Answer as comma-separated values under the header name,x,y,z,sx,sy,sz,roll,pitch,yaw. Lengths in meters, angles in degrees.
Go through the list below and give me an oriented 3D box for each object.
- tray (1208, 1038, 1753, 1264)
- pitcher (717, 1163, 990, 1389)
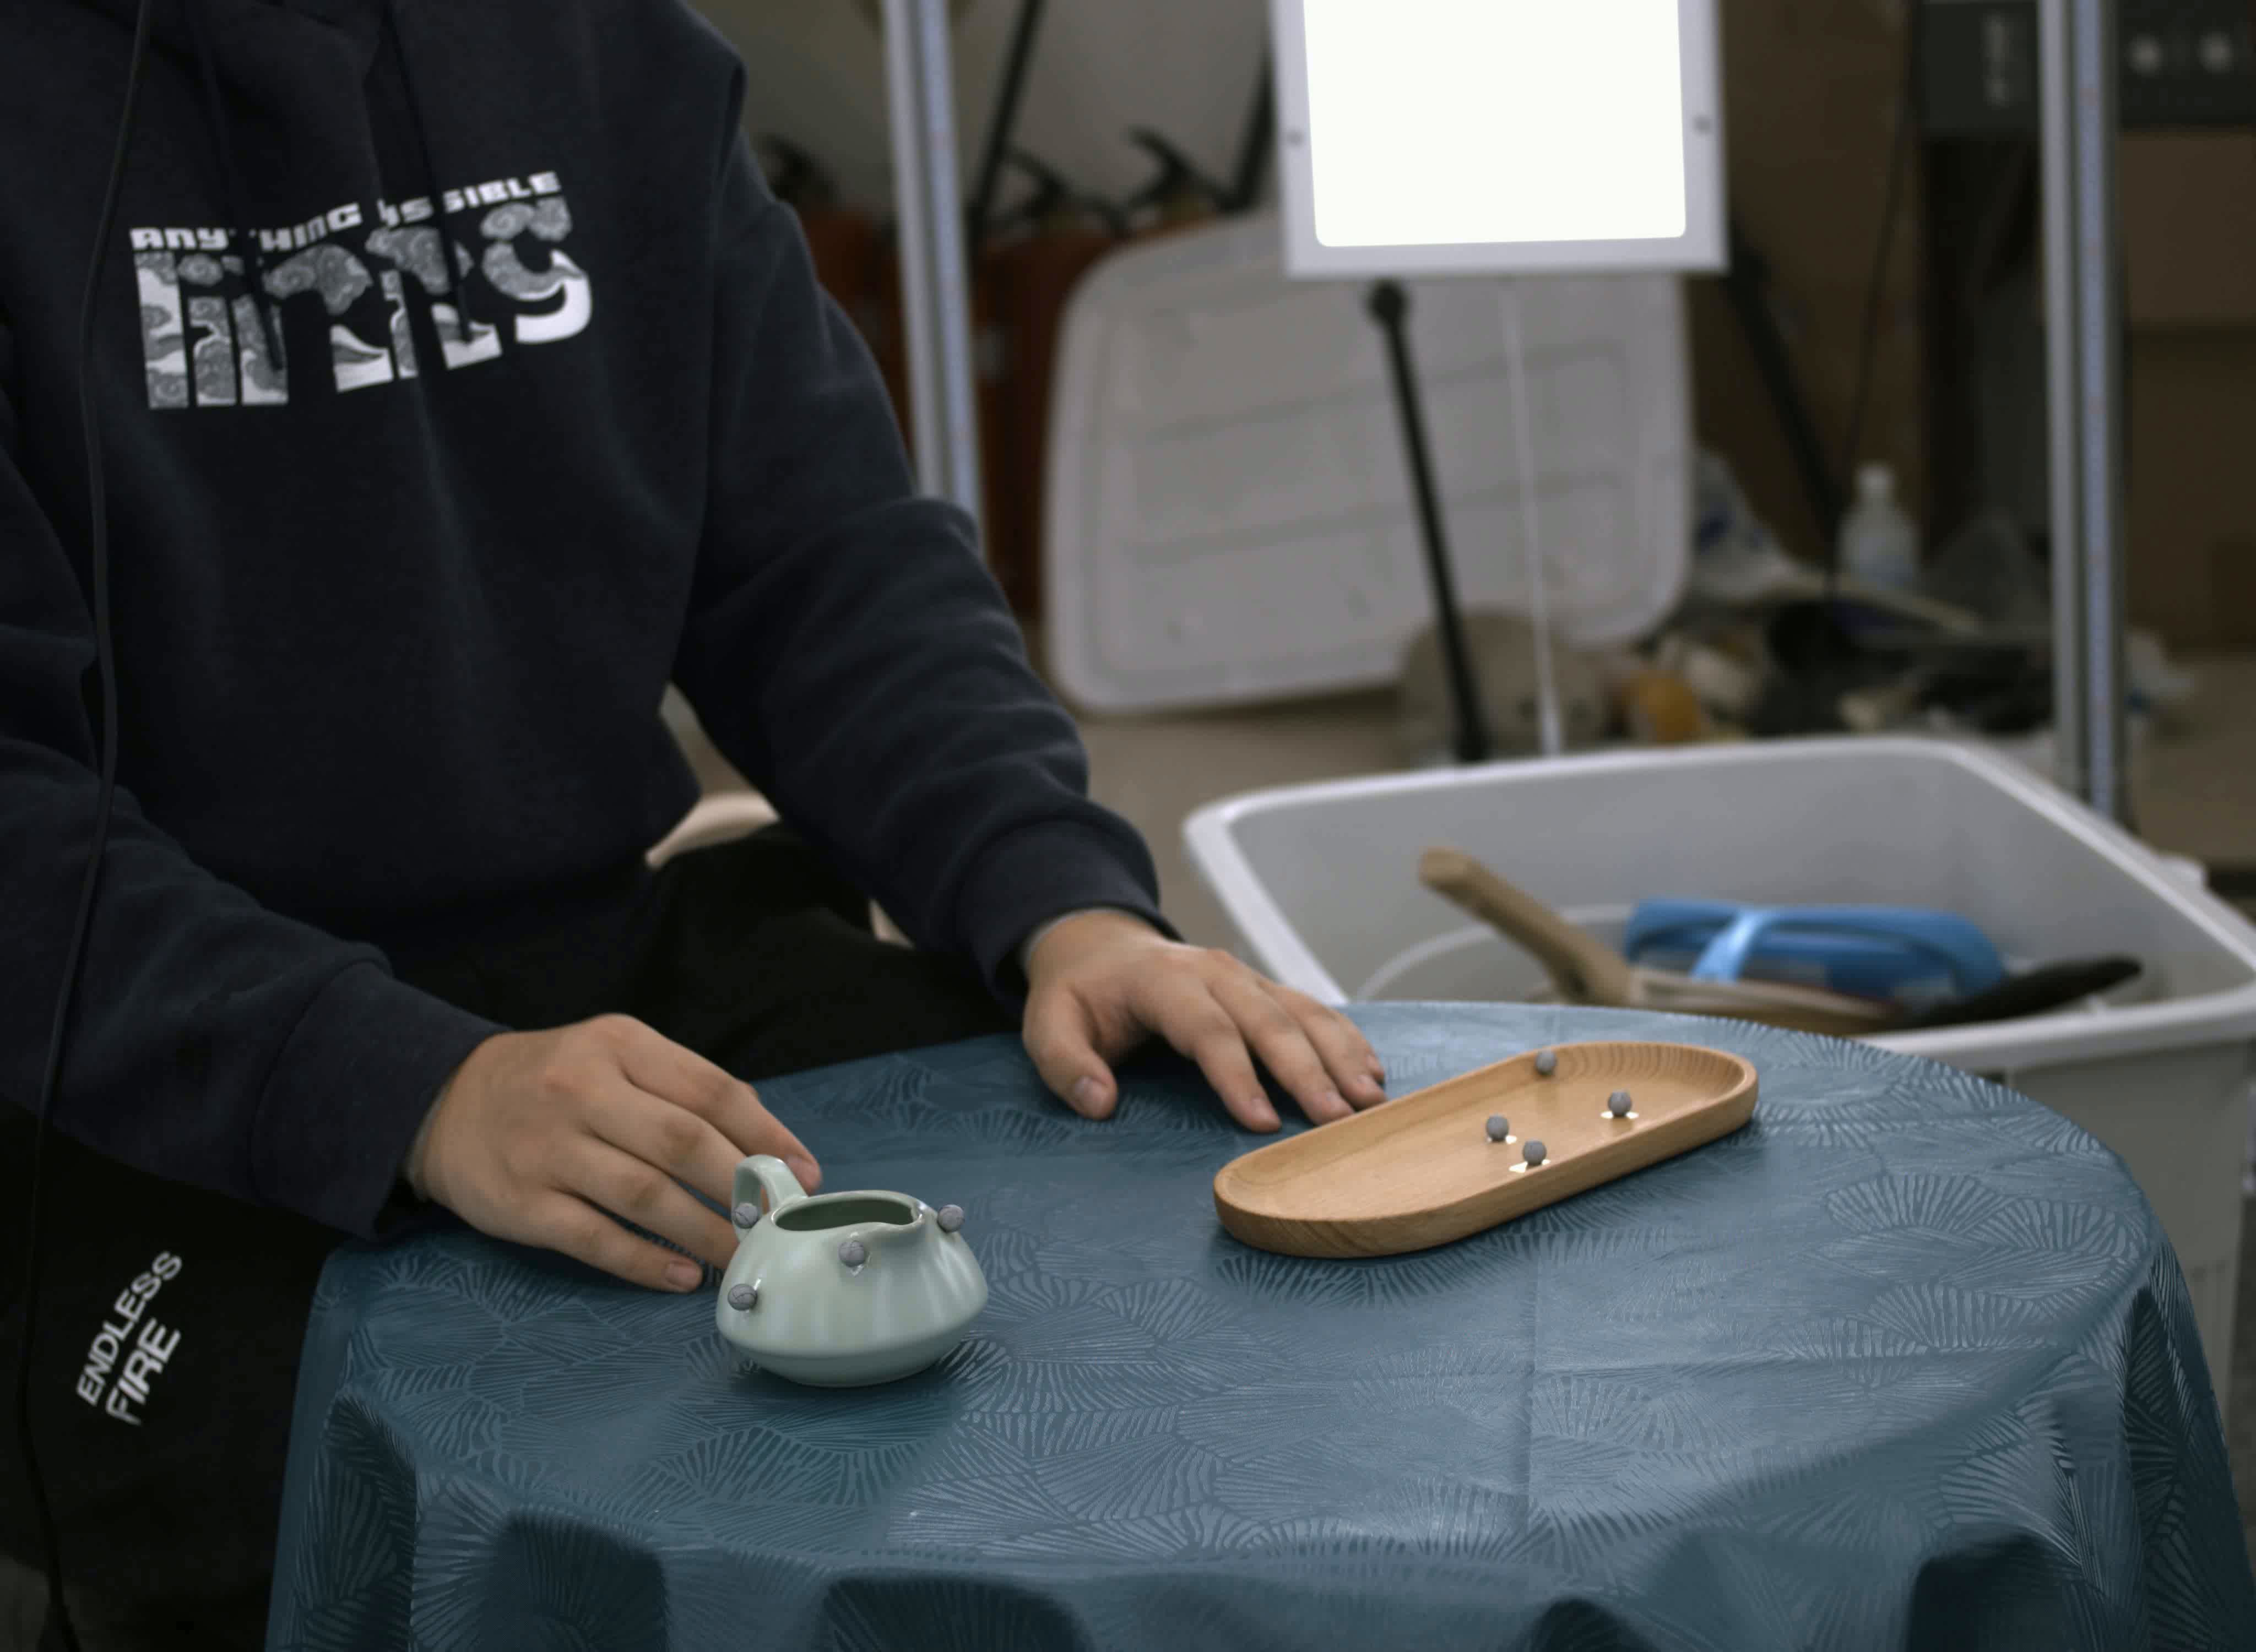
name,x,y,z,sx,sy,sz,roll,pitch,yaw
tray,0.124,0.110,1.889,0.225,0.020,0.104,-20,18,-40
pitcher,-0.094,0.142,1.749,0.084,0.060,0.110,-12,13,-33
